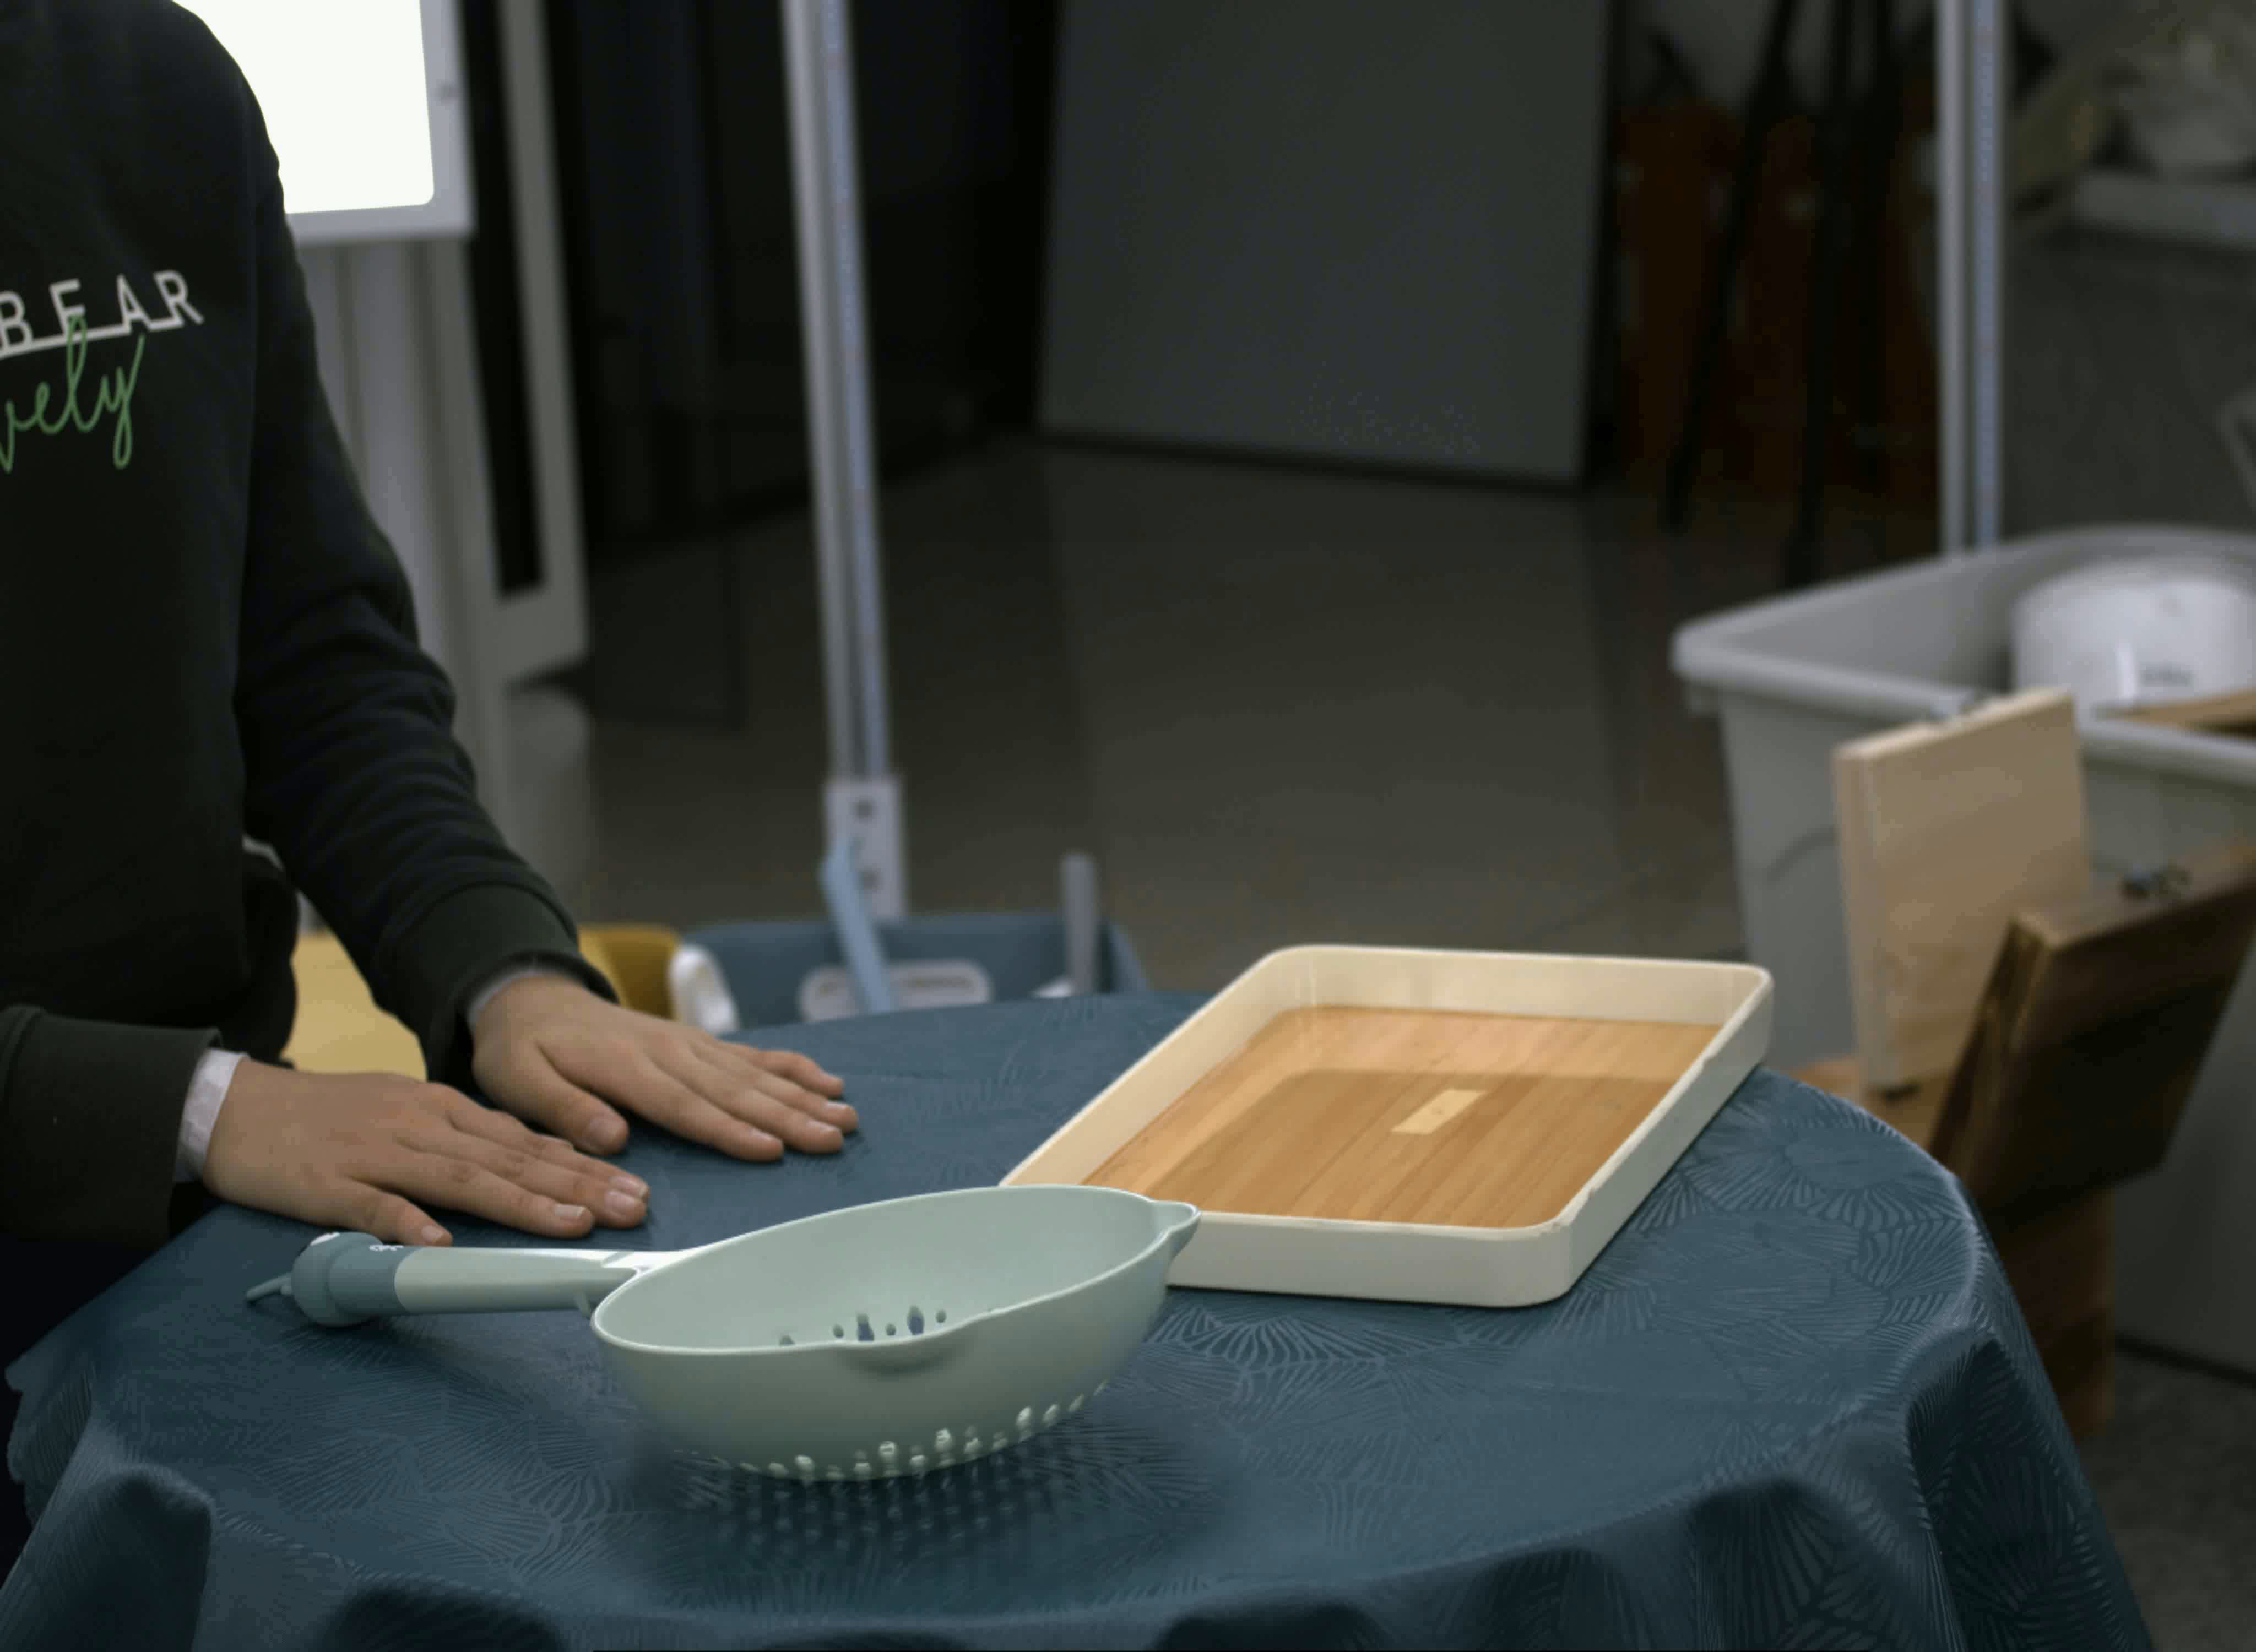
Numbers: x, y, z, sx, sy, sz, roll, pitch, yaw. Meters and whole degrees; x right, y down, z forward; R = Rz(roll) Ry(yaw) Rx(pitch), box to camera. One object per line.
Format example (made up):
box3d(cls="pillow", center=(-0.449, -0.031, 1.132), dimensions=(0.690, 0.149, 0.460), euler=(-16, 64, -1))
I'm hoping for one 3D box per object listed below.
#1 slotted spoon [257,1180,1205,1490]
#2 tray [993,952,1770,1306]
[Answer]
box3d(cls="slotted spoon", center=(-0.139, 0.140, 1.599), dimensions=(0.362, 0.076, 0.166), euler=(8, 18, 40))
box3d(cls="tray", center=(0.091, 0.096, 1.790), dimensions=(0.191, 0.028, 0.297), euler=(2, 15, 21))
